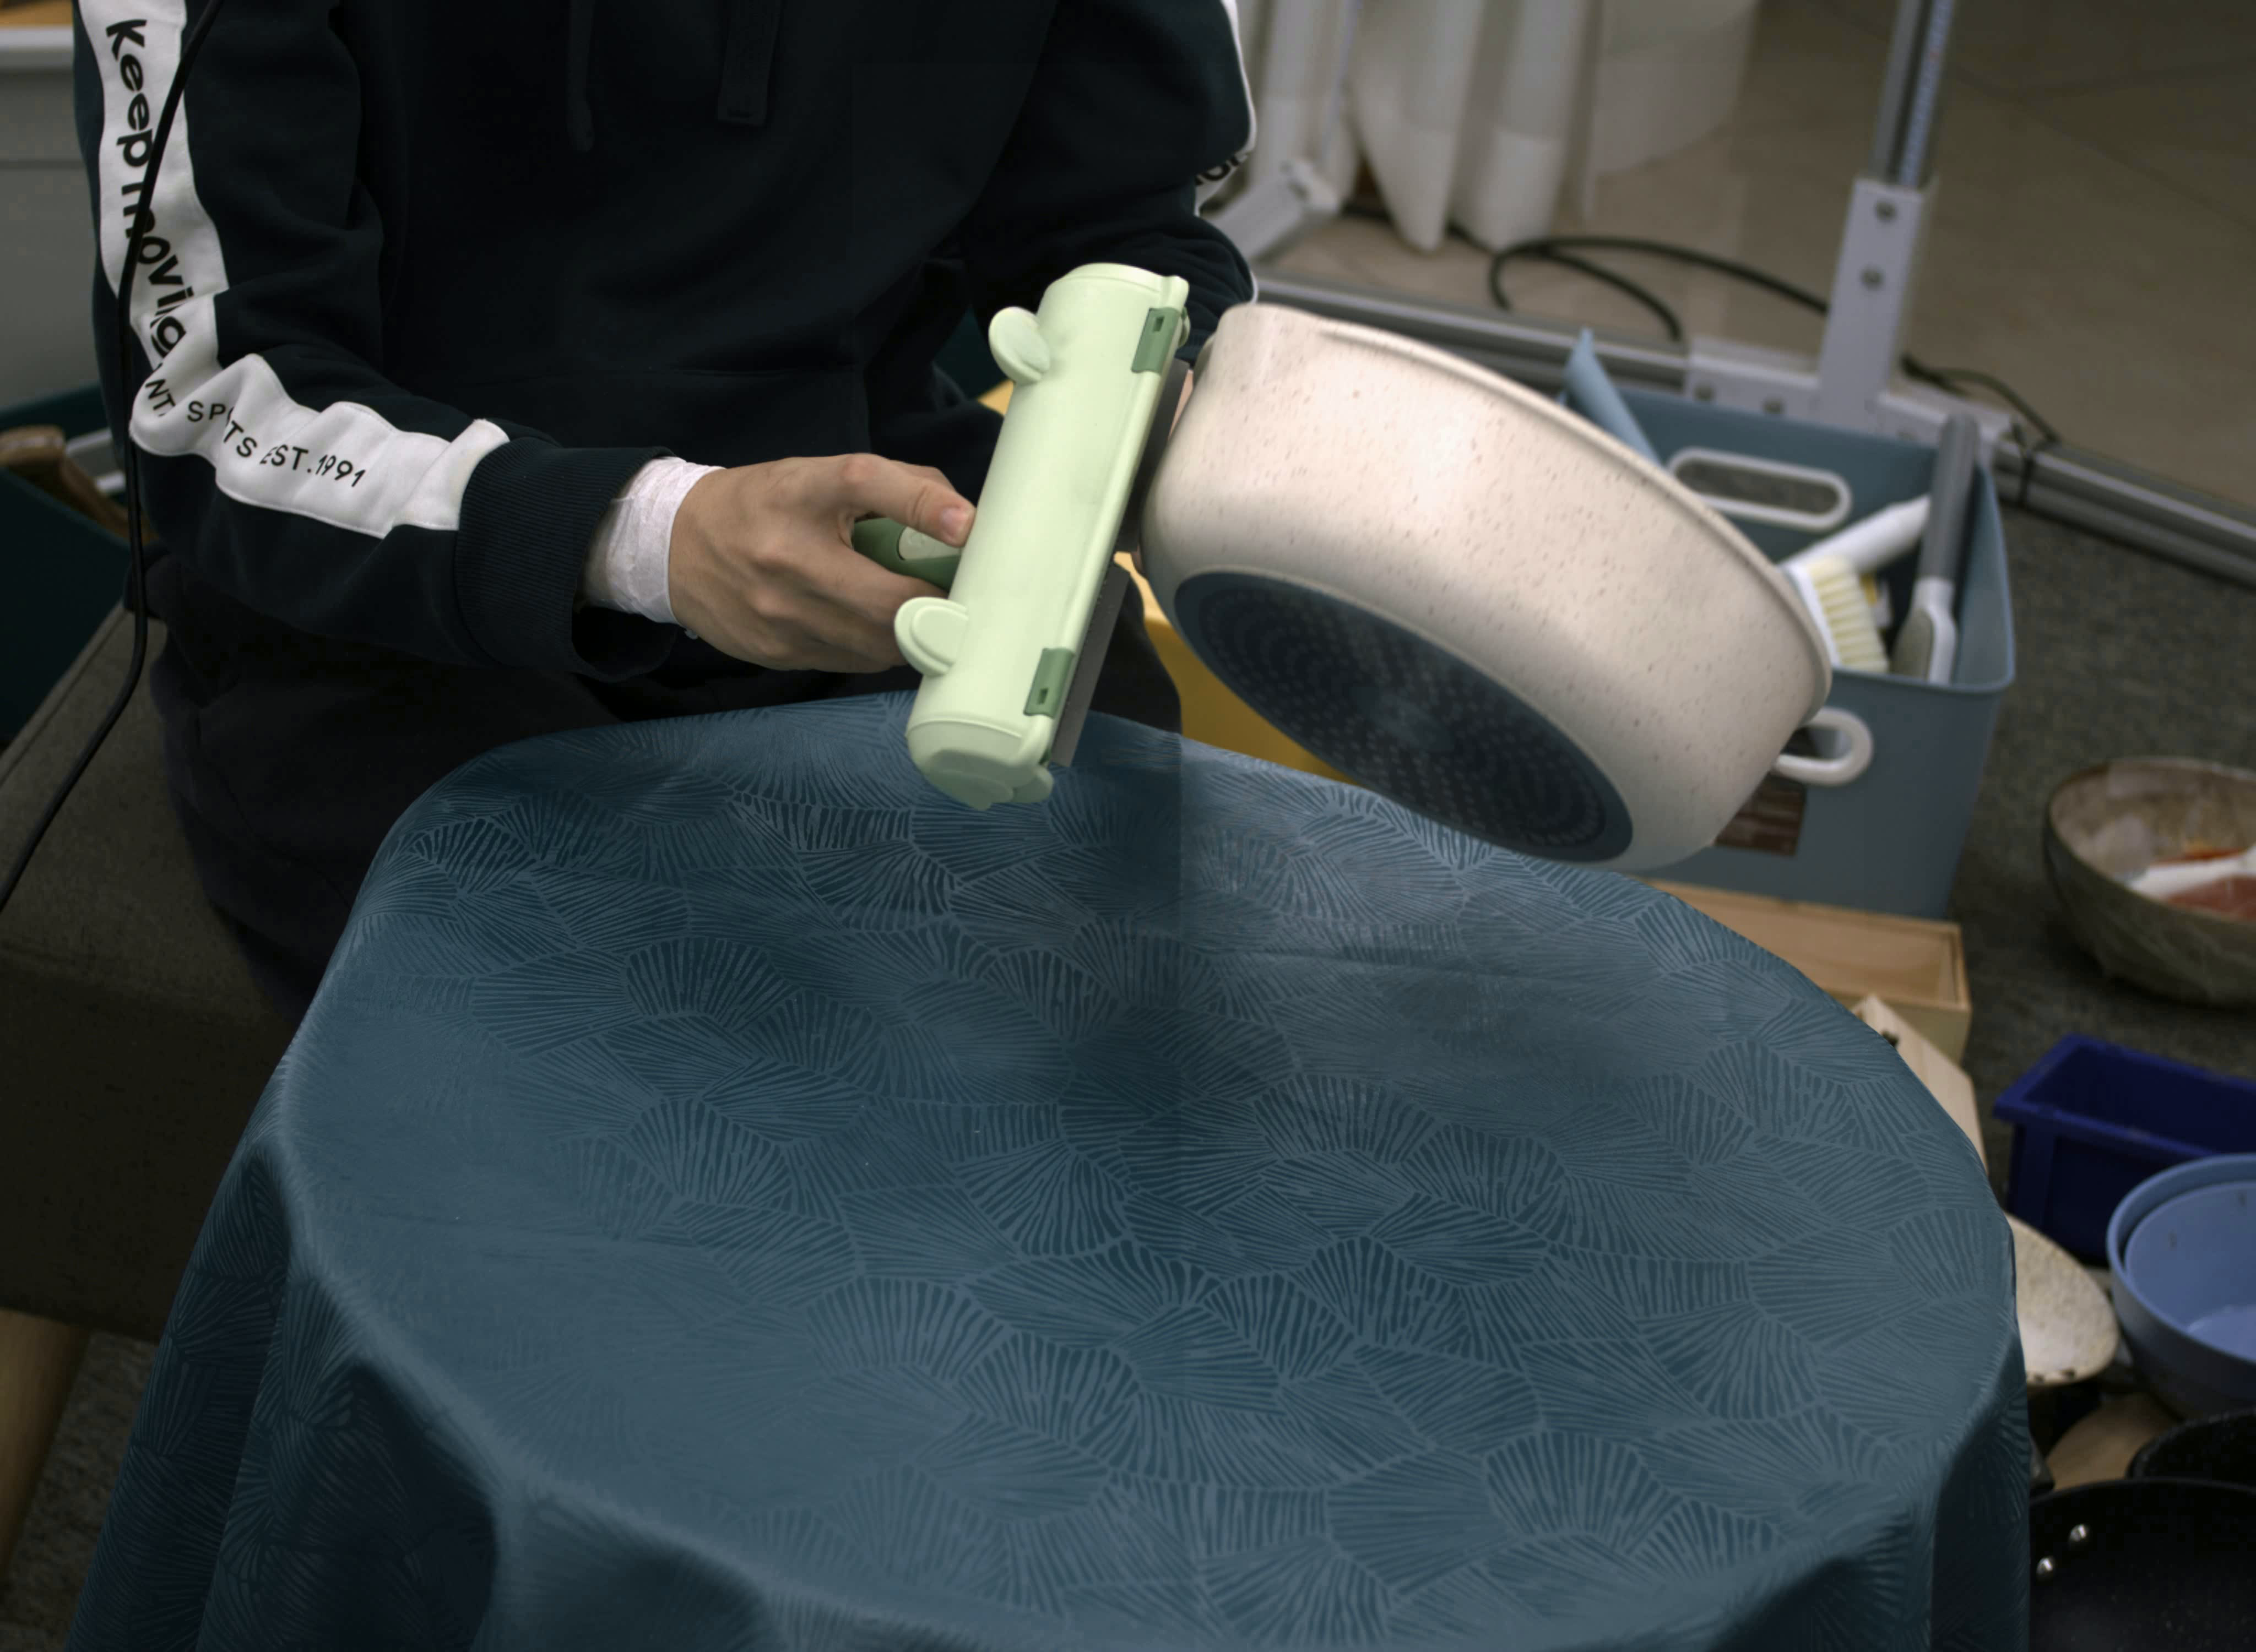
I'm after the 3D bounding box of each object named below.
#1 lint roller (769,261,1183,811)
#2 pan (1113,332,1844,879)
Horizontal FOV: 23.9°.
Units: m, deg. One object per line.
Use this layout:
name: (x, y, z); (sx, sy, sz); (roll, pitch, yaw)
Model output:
lint roller: (-0.075, -0.103, 1.872); (0.184, 0.199, 0.081); (-3, -29, 39)
pan: (0.074, -0.074, 1.934); (0.261, 0.102, 0.437); (35, -16, -26)
